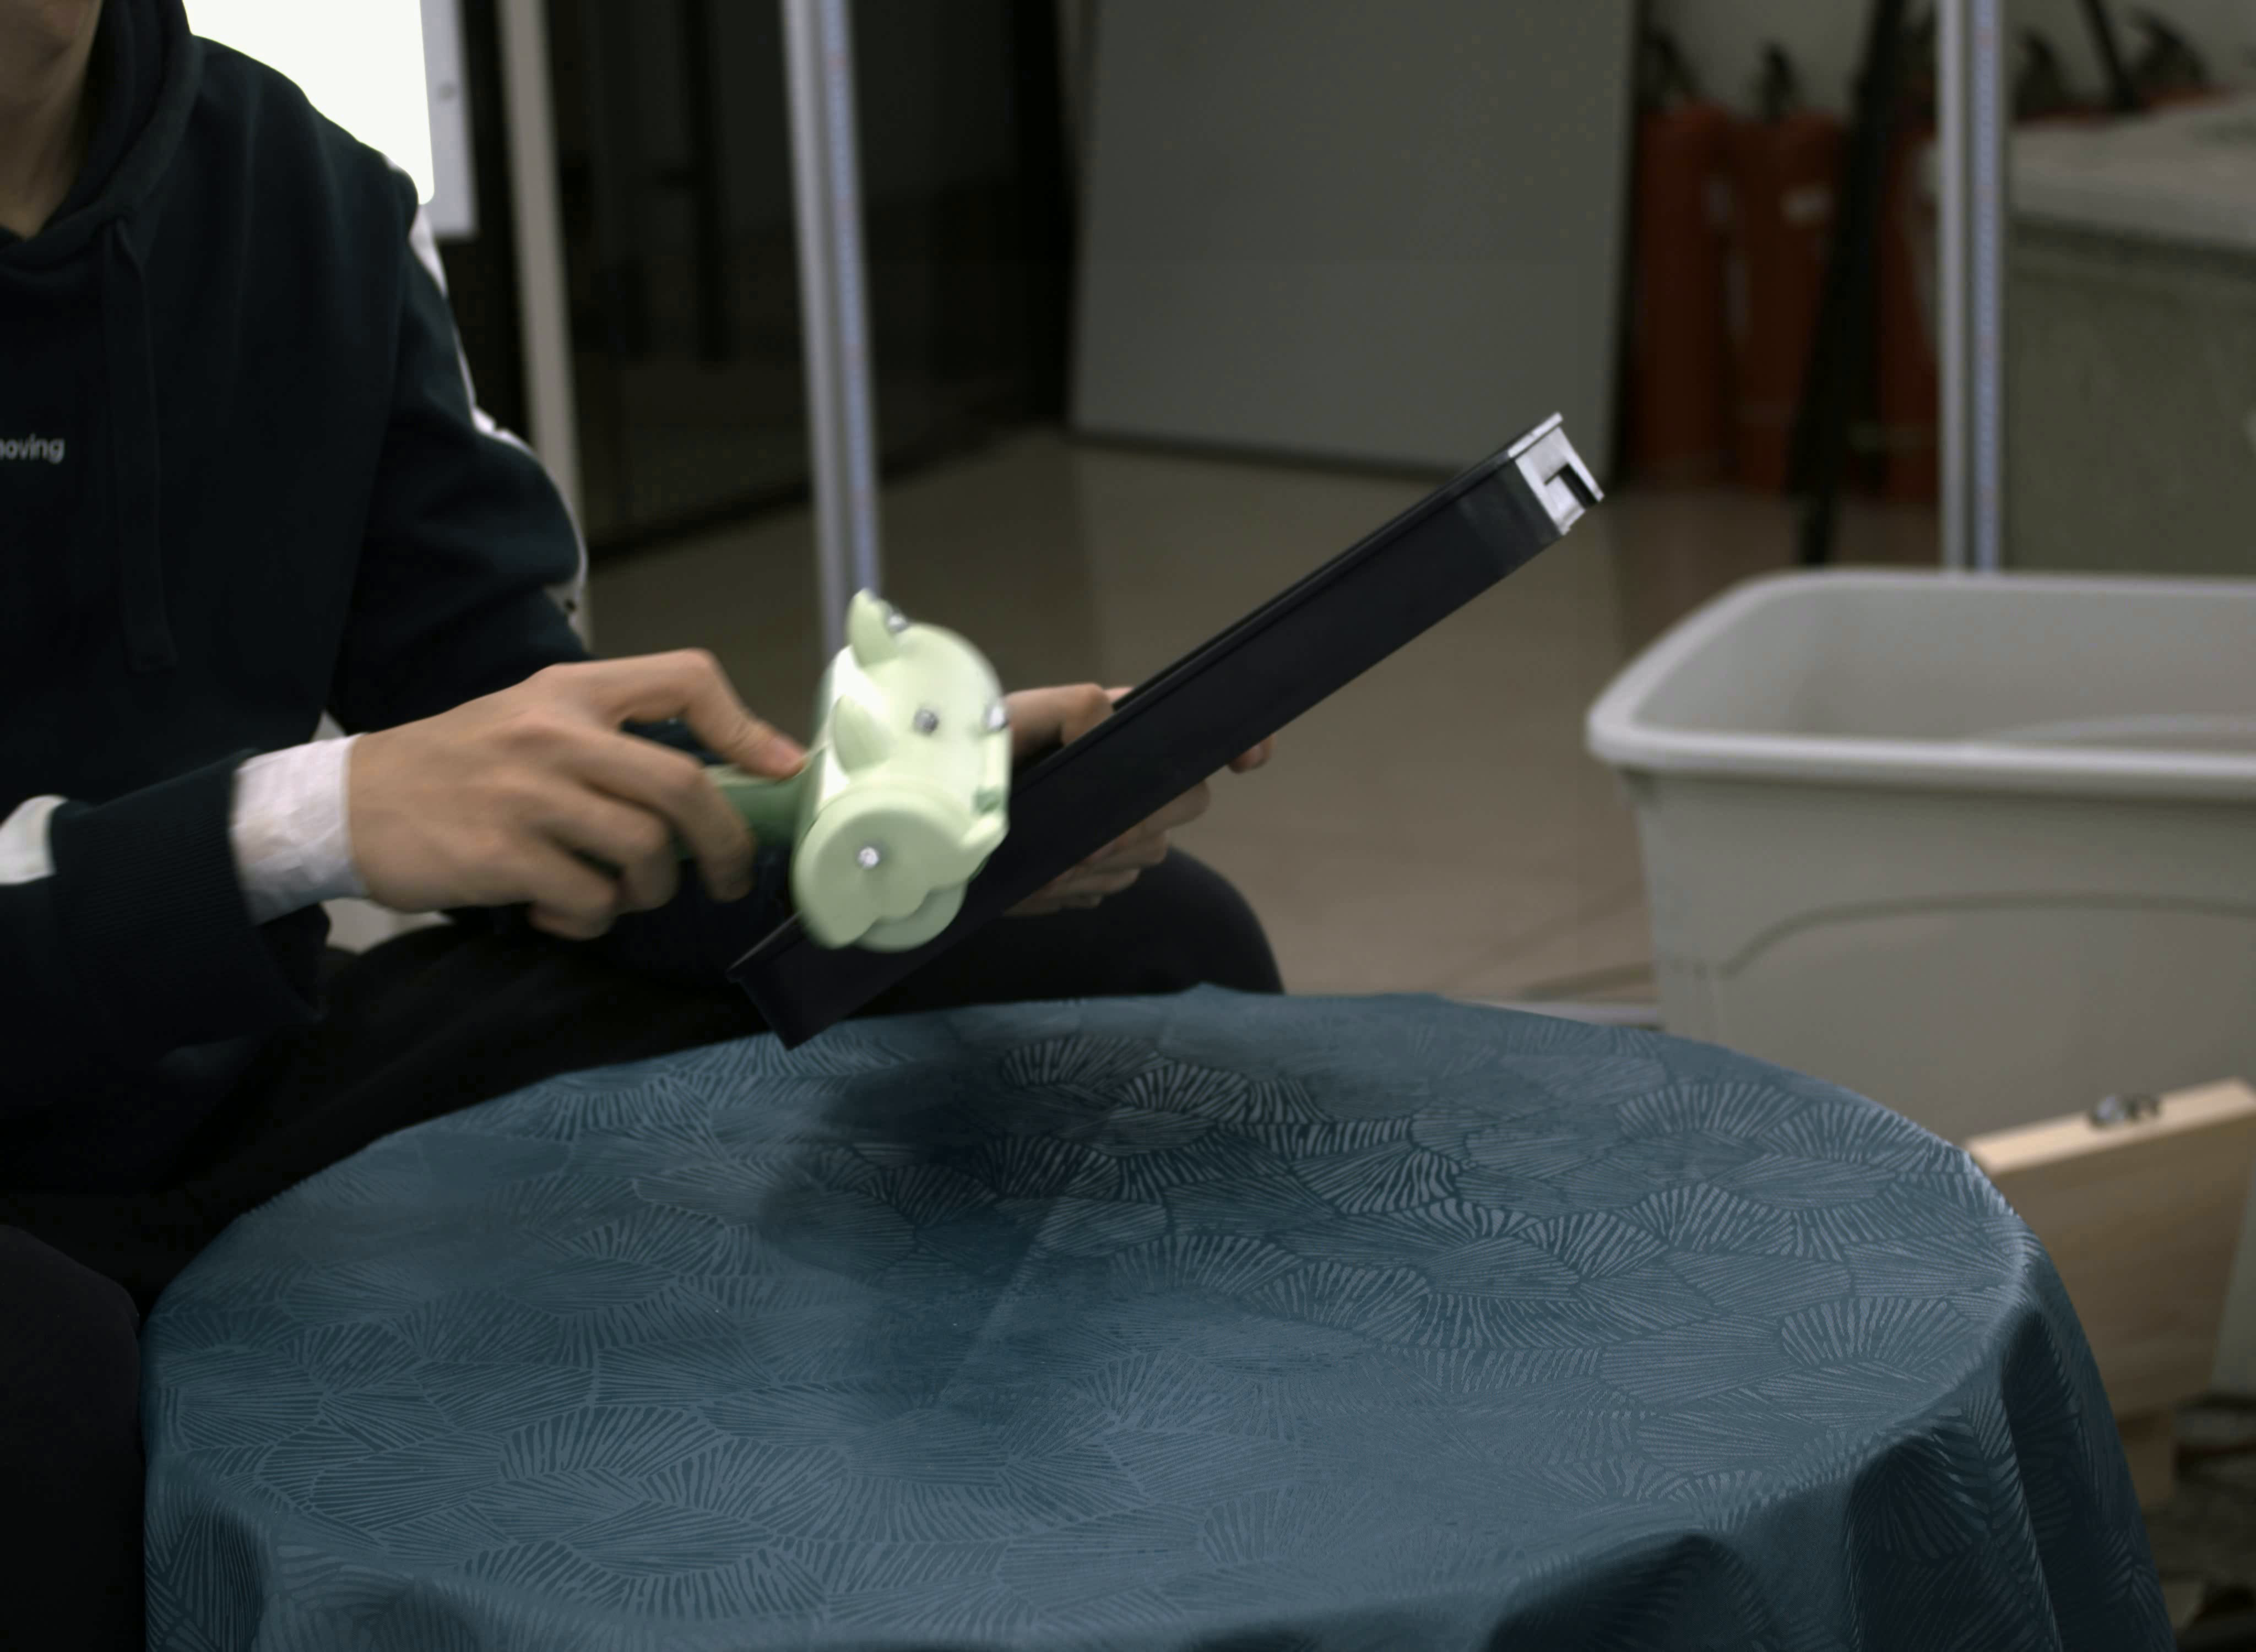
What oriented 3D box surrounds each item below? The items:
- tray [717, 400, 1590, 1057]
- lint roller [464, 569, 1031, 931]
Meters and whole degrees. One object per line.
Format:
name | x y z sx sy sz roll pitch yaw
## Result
tray | 0.012 -0.034 1.812 0.318 0.037 0.183 -35 1 15
lint roller | -0.123 -0.024 1.714 0.181 0.083 0.199 -3 17 3
